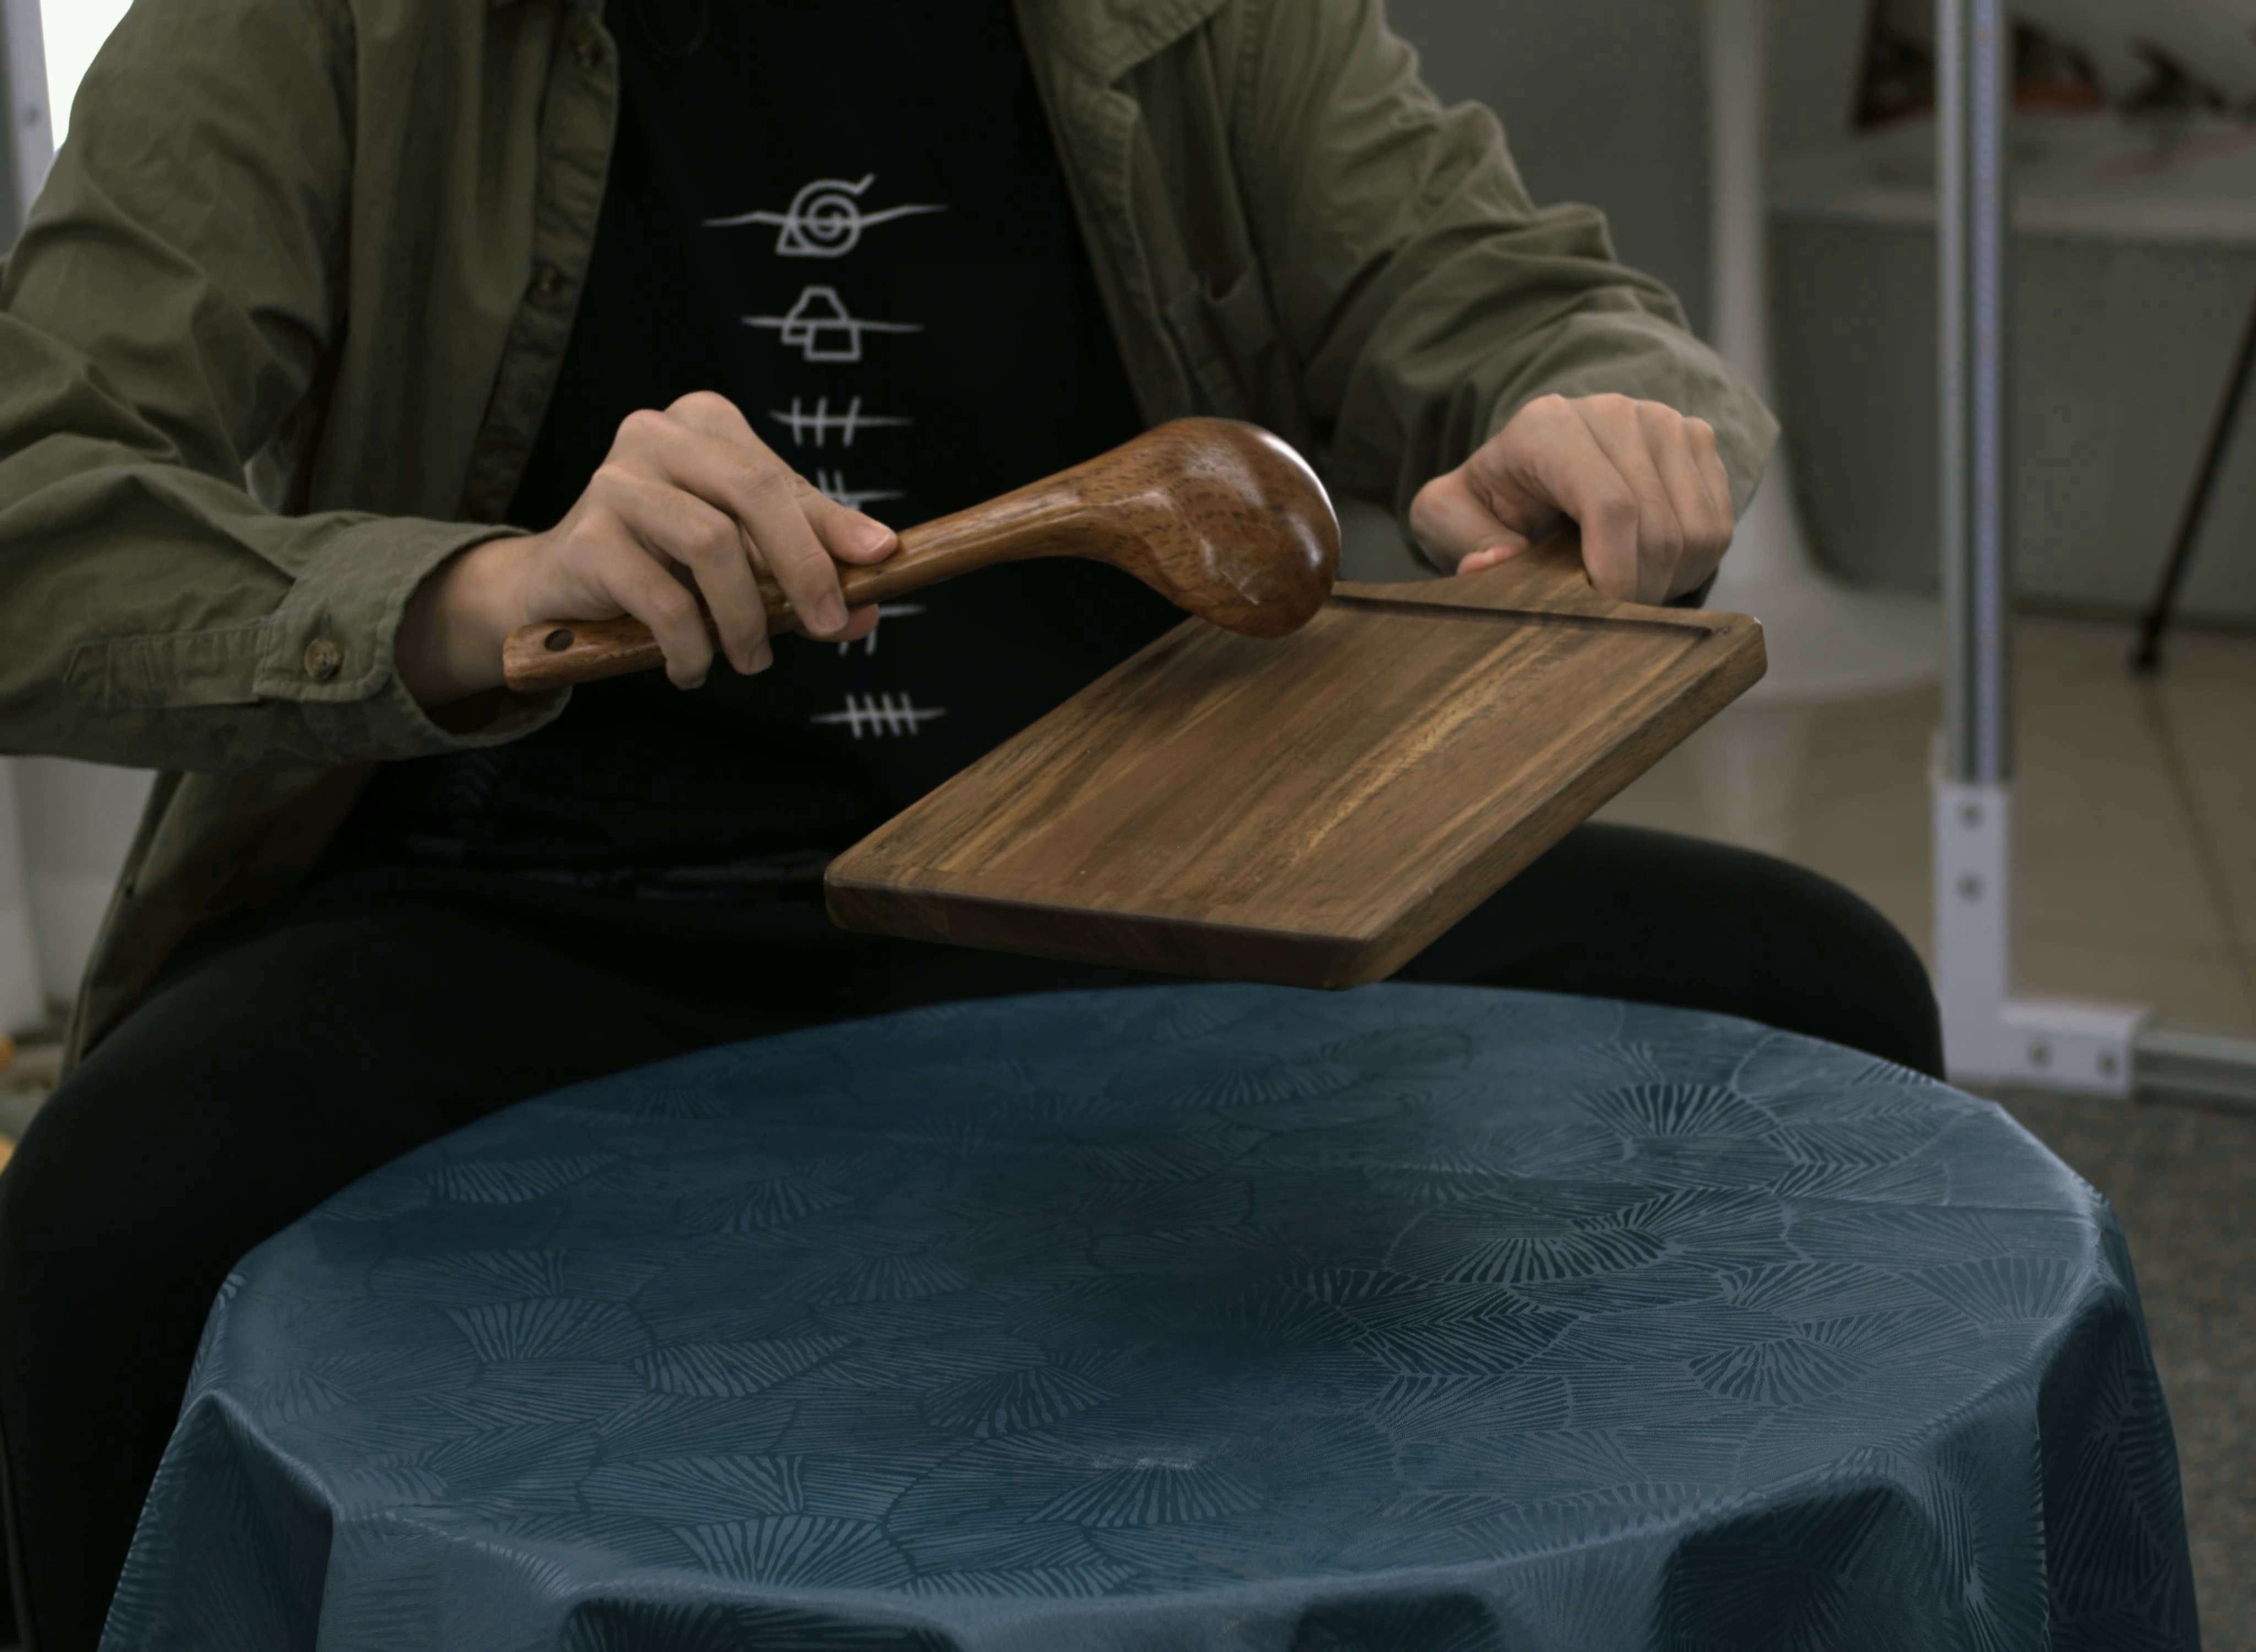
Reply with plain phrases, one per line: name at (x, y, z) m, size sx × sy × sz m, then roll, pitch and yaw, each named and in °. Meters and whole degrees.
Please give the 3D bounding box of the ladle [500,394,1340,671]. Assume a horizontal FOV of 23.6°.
ladle at (-0.065, -0.077, 1.748) m, size 0.273 × 0.076 × 0.082 m, roll -15°, pitch 48°, yaw 17°

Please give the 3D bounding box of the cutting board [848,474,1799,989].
cutting board at (0.090, -0.039, 1.666) m, size 0.202 × 0.023 × 0.347 m, roll 6°, pitch 27°, yaw 37°
